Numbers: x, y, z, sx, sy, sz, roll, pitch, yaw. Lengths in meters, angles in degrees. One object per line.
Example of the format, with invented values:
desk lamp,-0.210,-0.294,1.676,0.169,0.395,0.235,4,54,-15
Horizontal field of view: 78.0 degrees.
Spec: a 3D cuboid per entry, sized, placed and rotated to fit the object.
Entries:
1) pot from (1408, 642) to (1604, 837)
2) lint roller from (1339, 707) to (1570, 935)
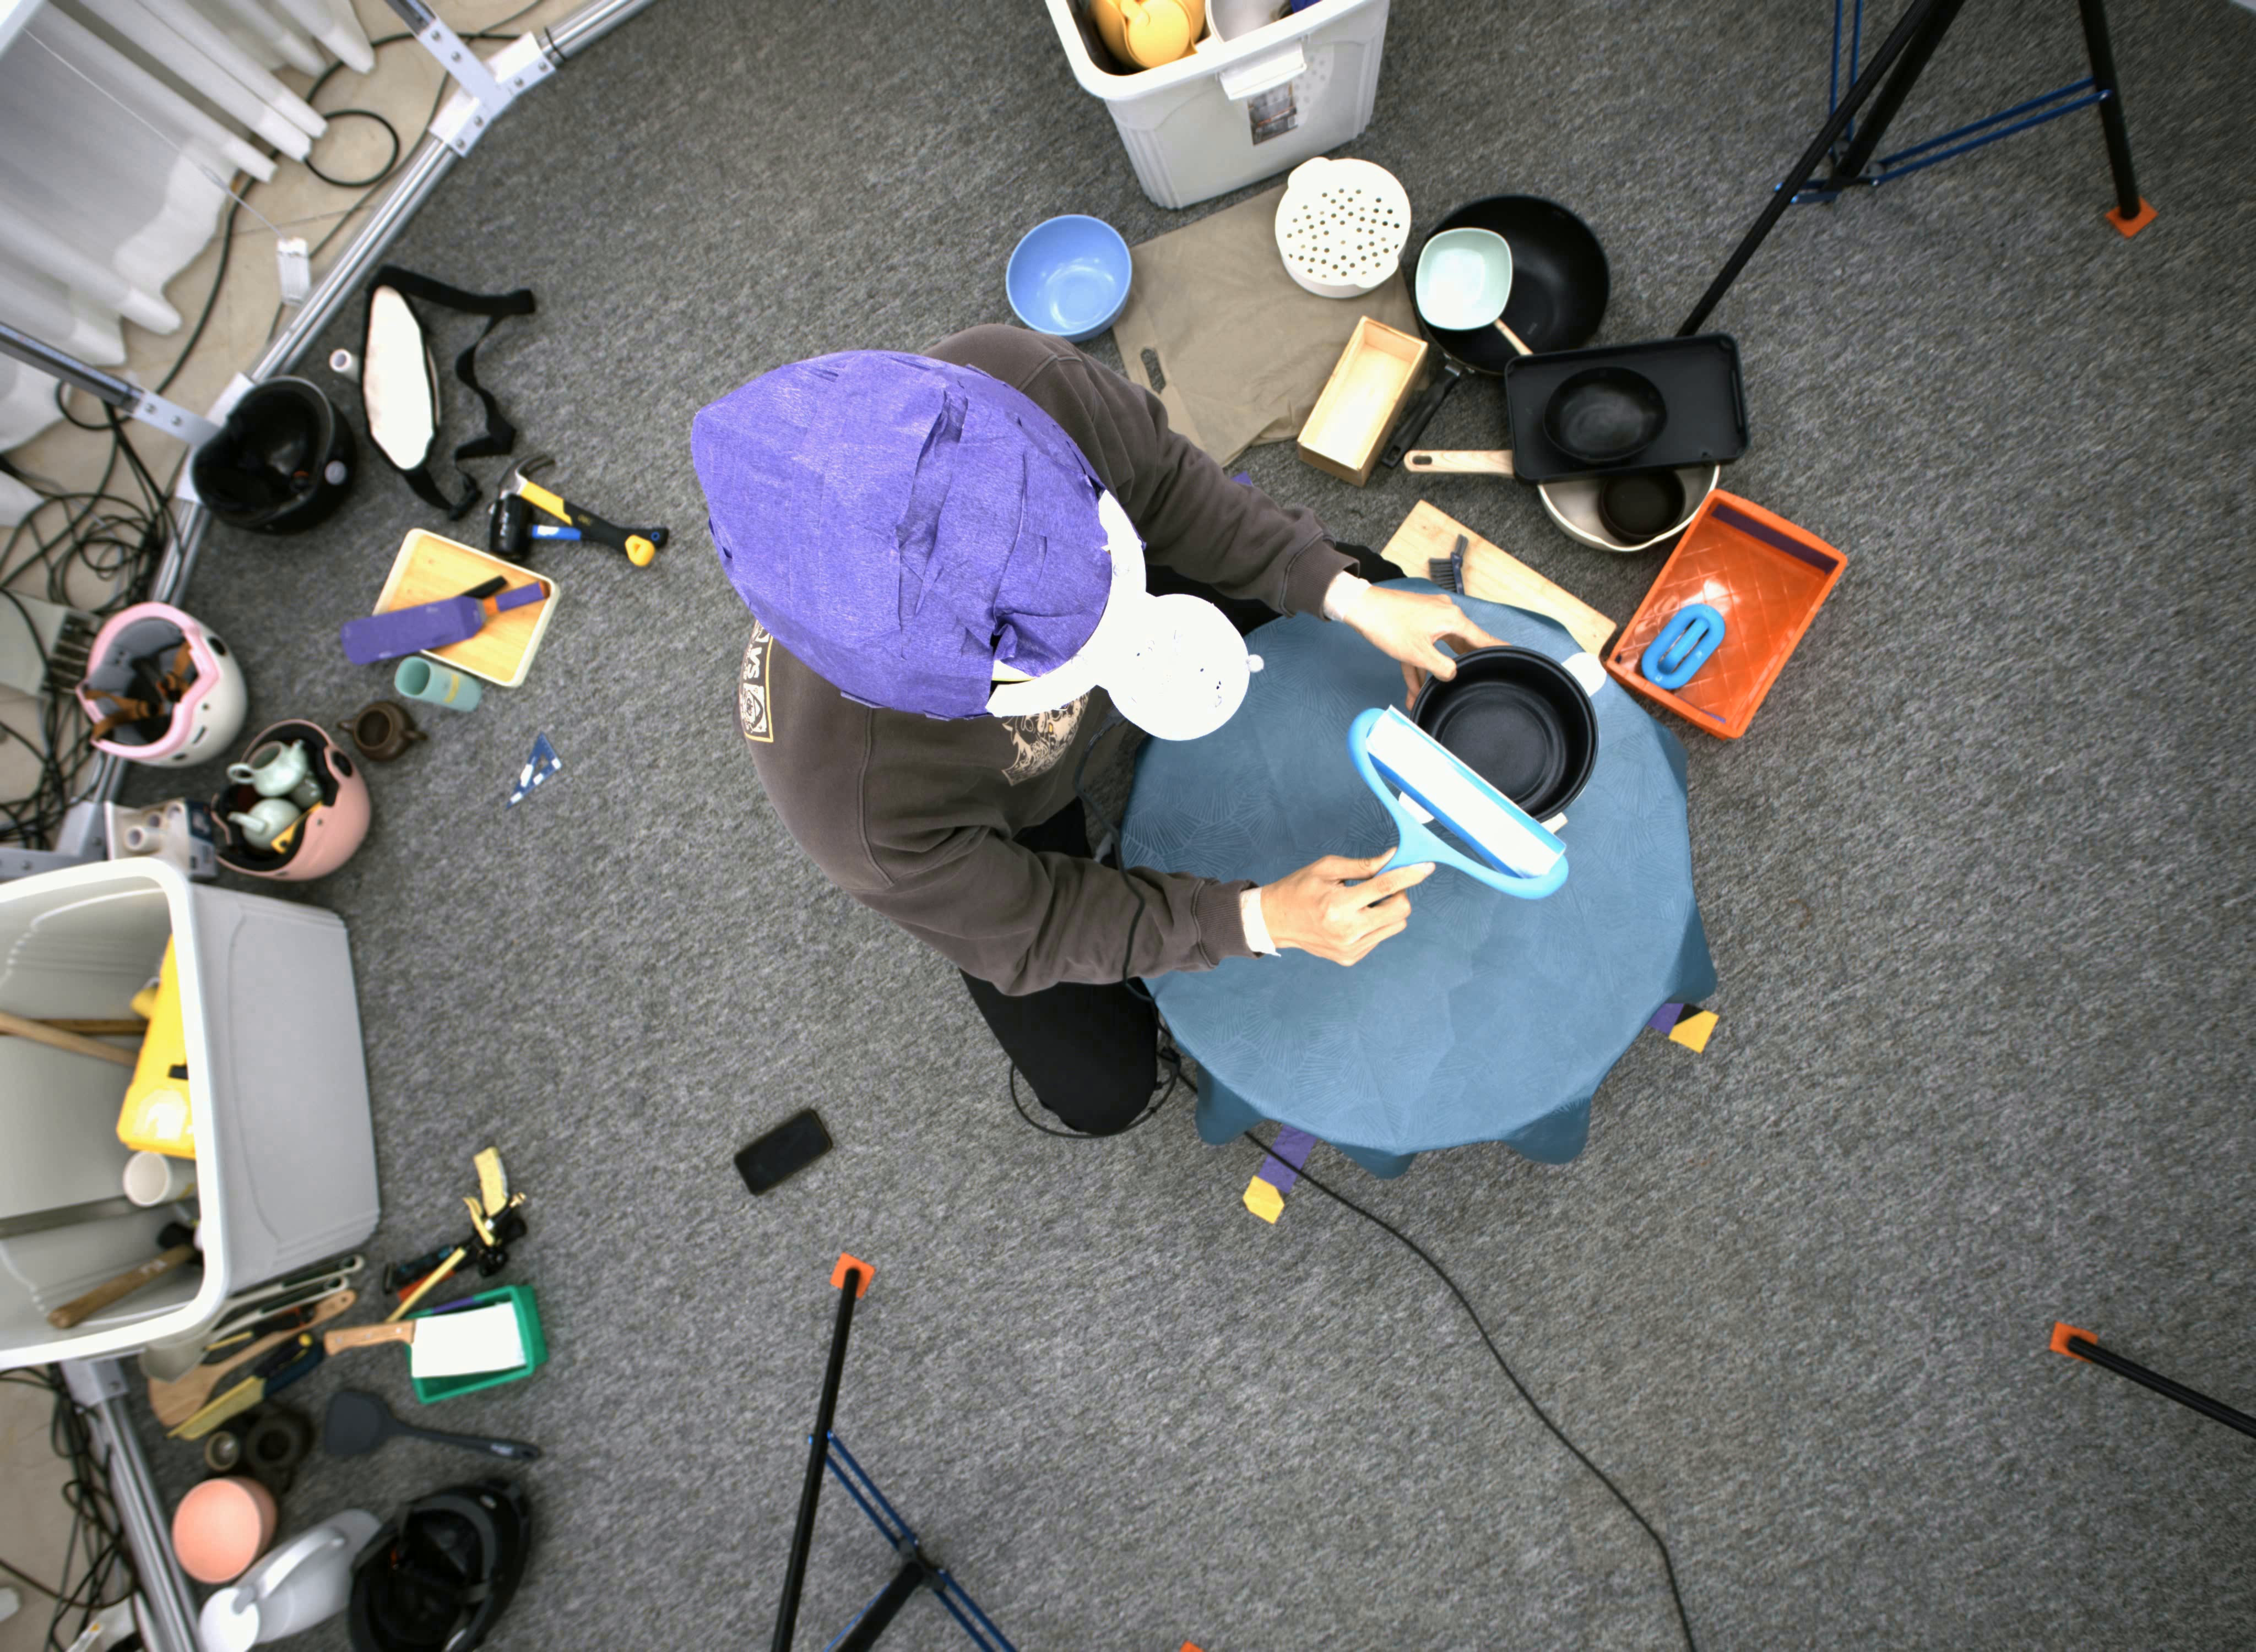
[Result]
pot,0.374,-0.078,1.375,0.242,0.143,0.189,-40,77,7
lint roller,0.249,0.021,1.190,0.228,0.068,0.180,39,88,8
